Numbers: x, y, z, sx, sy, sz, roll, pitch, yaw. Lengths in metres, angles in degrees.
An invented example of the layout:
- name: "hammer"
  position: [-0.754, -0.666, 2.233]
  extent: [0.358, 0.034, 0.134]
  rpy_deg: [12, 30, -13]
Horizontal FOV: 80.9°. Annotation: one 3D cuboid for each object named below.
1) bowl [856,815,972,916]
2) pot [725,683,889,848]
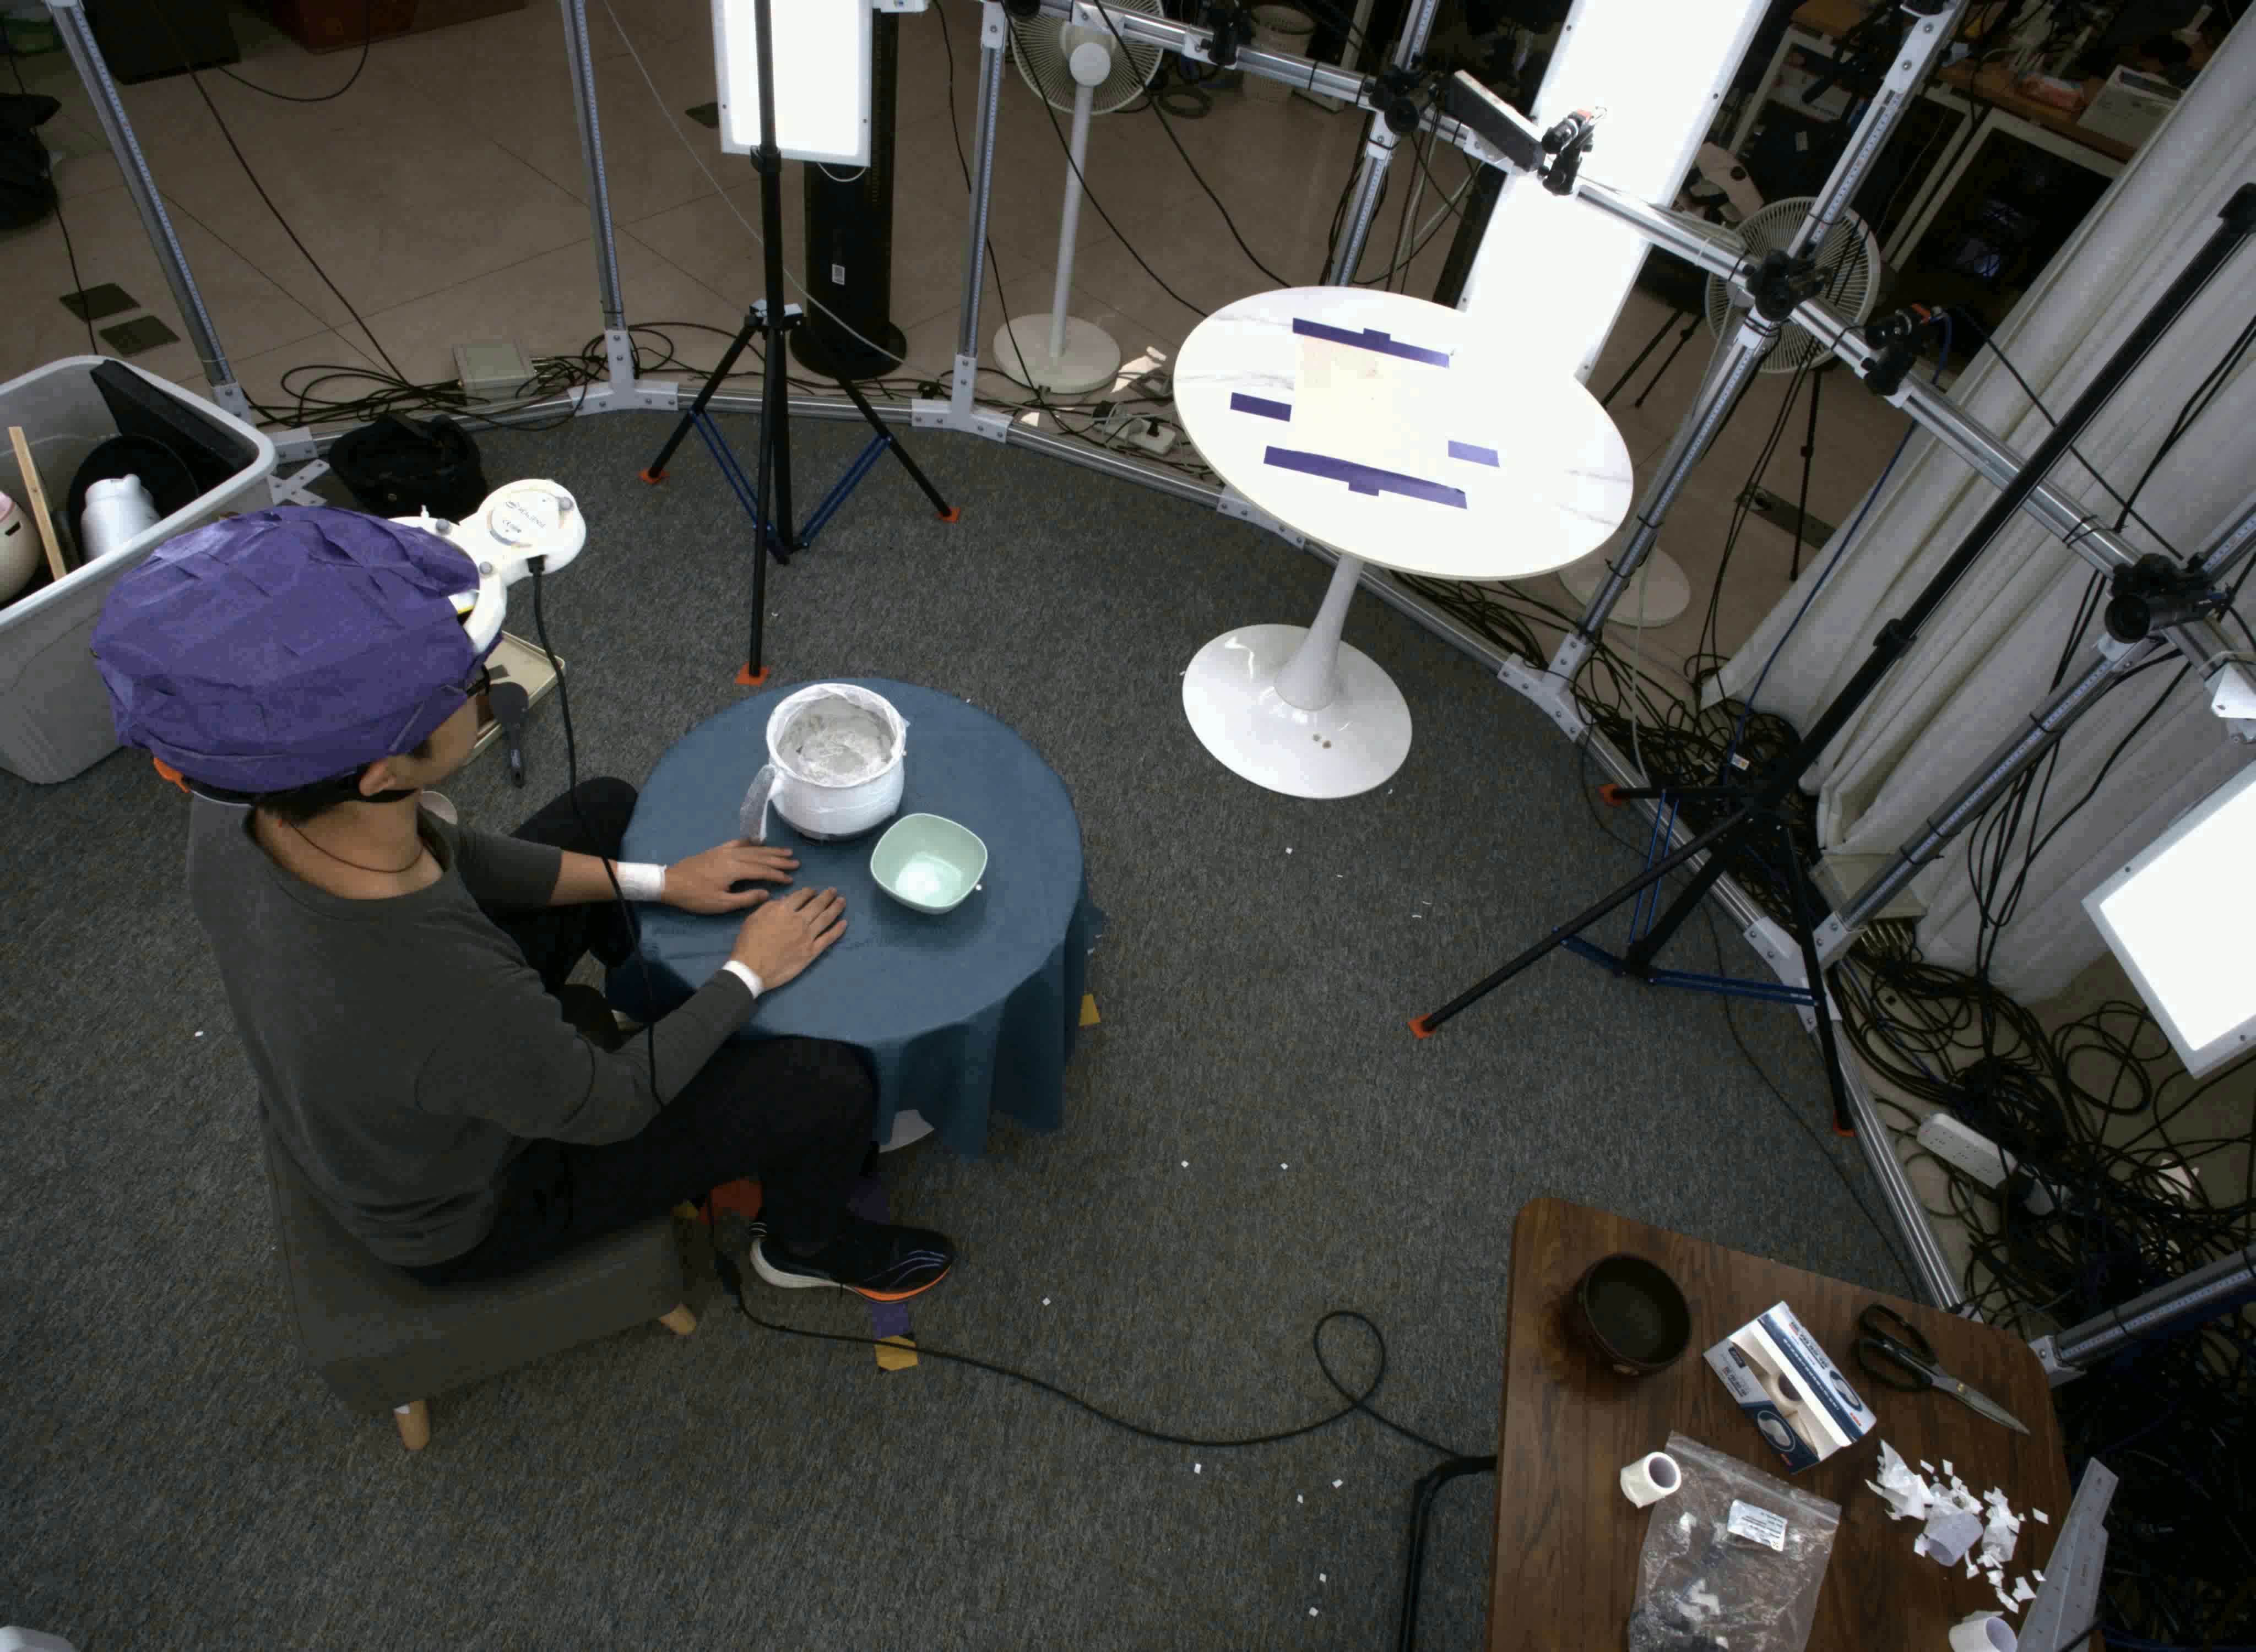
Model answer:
- name: "bowl"
  position: [-0.278, 0.060, 1.691]
  extent: [0.151, 0.060, 0.148]
  rpy_deg: [9, 51, -9]
- name: "pot"
  position: [-0.424, -0.065, 1.696]
  extent: [0.175, 0.139, 0.234]
  rpy_deg: [41, 56, 18]
